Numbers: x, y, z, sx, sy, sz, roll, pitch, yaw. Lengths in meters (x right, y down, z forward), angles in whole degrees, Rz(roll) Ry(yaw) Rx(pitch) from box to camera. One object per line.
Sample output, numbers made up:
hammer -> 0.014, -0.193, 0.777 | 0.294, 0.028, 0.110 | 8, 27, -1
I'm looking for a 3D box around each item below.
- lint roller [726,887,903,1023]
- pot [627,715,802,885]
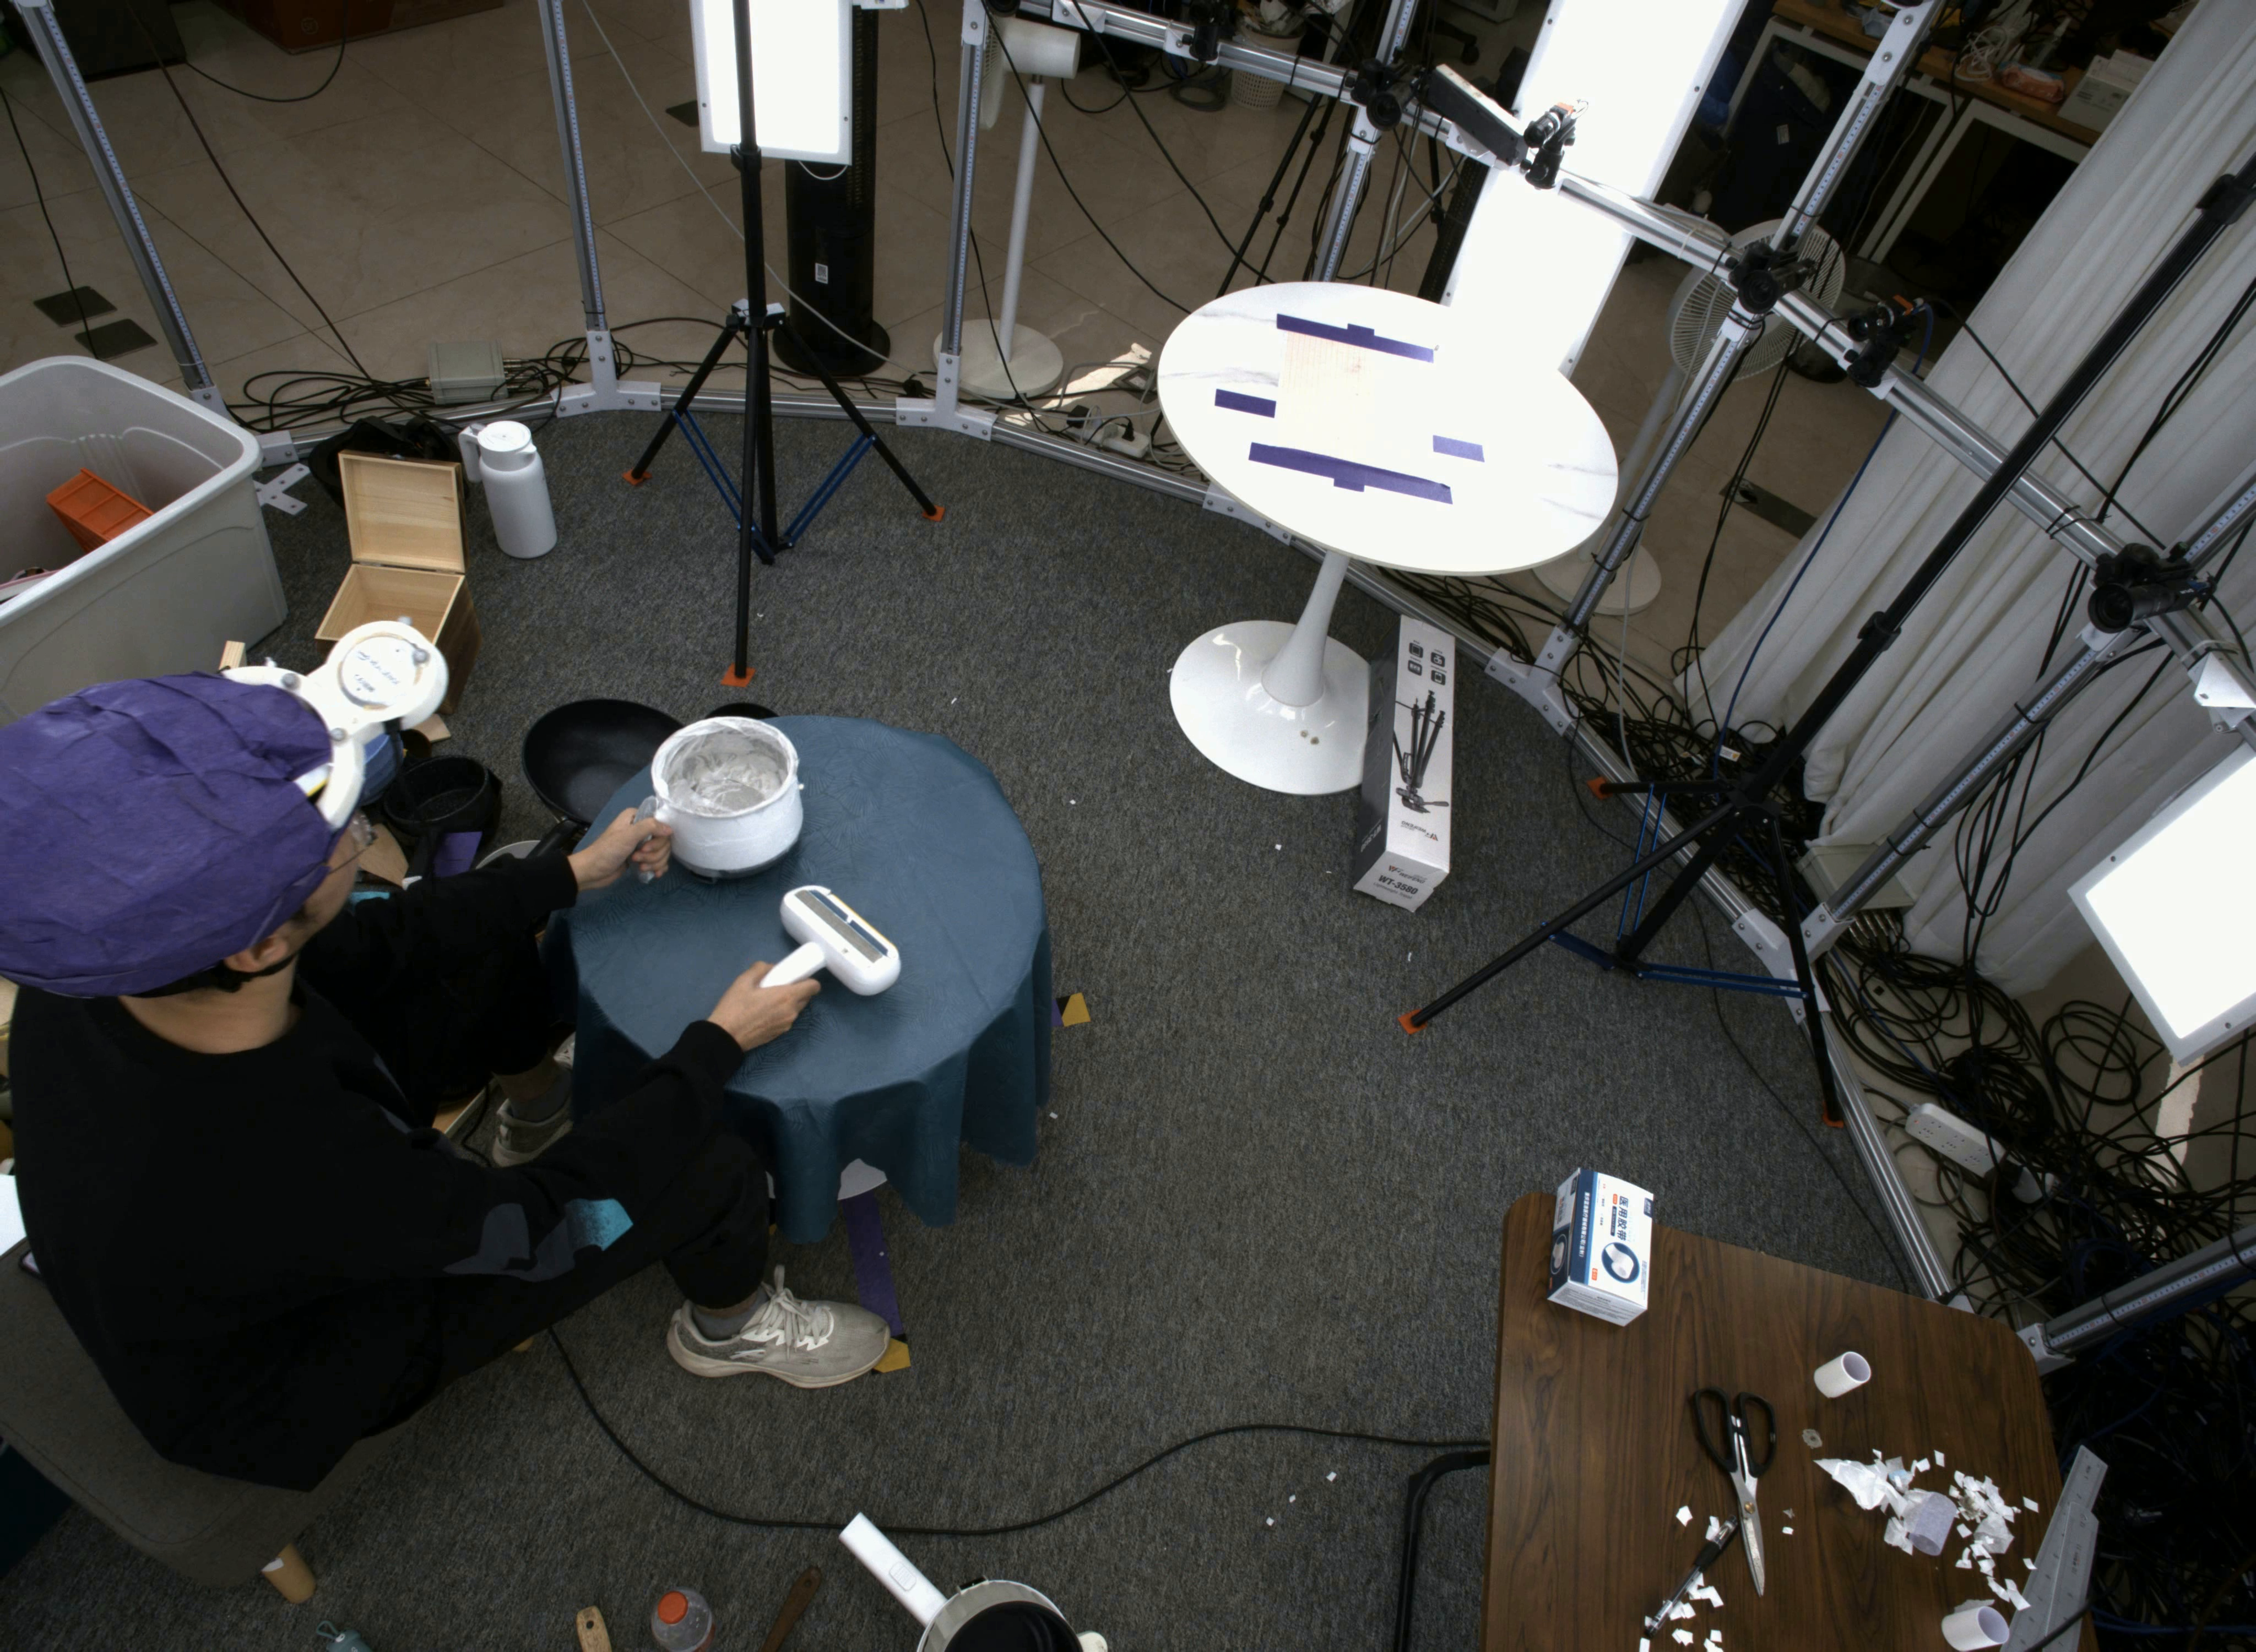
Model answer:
lint roller -> -0.394, 0.167, 1.558 | 0.193, 0.076, 0.187 | -26, 54, -35
pot -> -0.525, -0.021, 1.622 | 0.173, 0.140, 0.234 | 39, 52, 24
